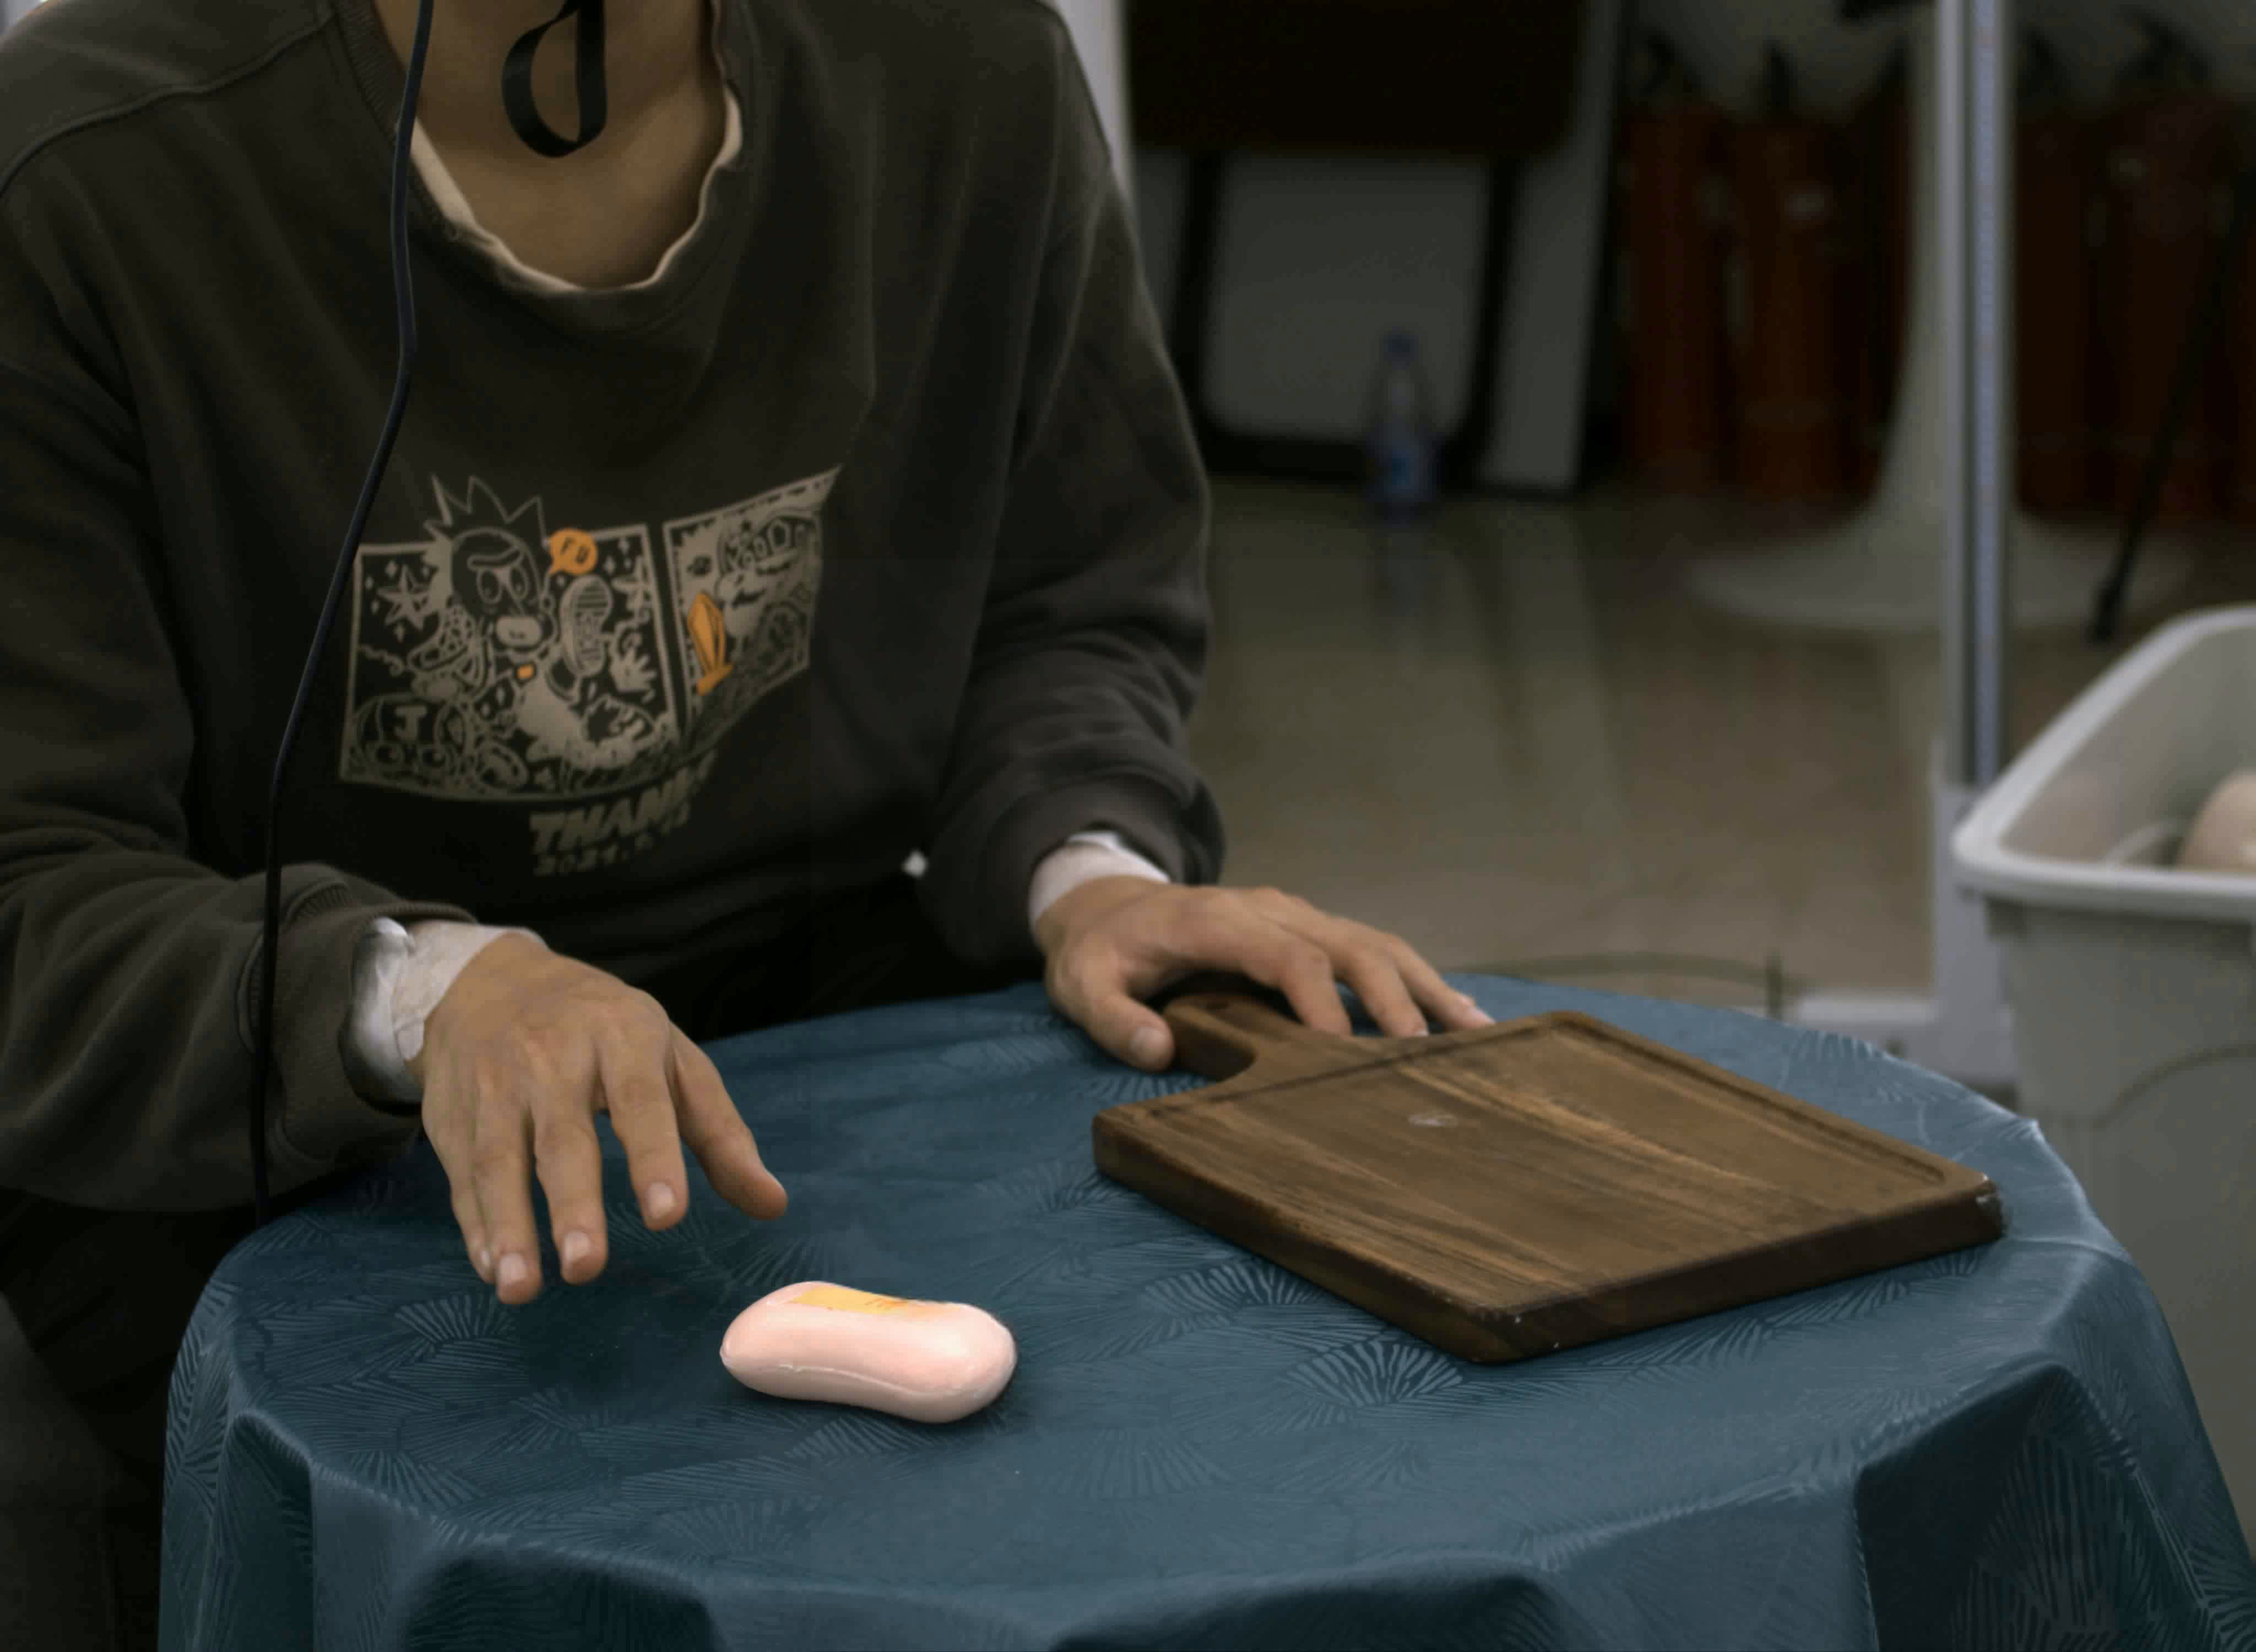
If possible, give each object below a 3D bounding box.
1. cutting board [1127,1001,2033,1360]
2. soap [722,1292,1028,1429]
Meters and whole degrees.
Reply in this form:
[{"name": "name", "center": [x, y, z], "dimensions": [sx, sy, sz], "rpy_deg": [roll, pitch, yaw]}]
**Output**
[{"name": "cutting board", "center": [0.118, 0.103, 1.774], "dimensions": [0.197, 0.023, 0.356], "rpy_deg": [-11, 15, -25]}, {"name": "soap", "center": [-0.075, 0.157, 1.592], "dimensions": [0.095, 0.031, 0.049], "rpy_deg": [3, 14, 35]}]
